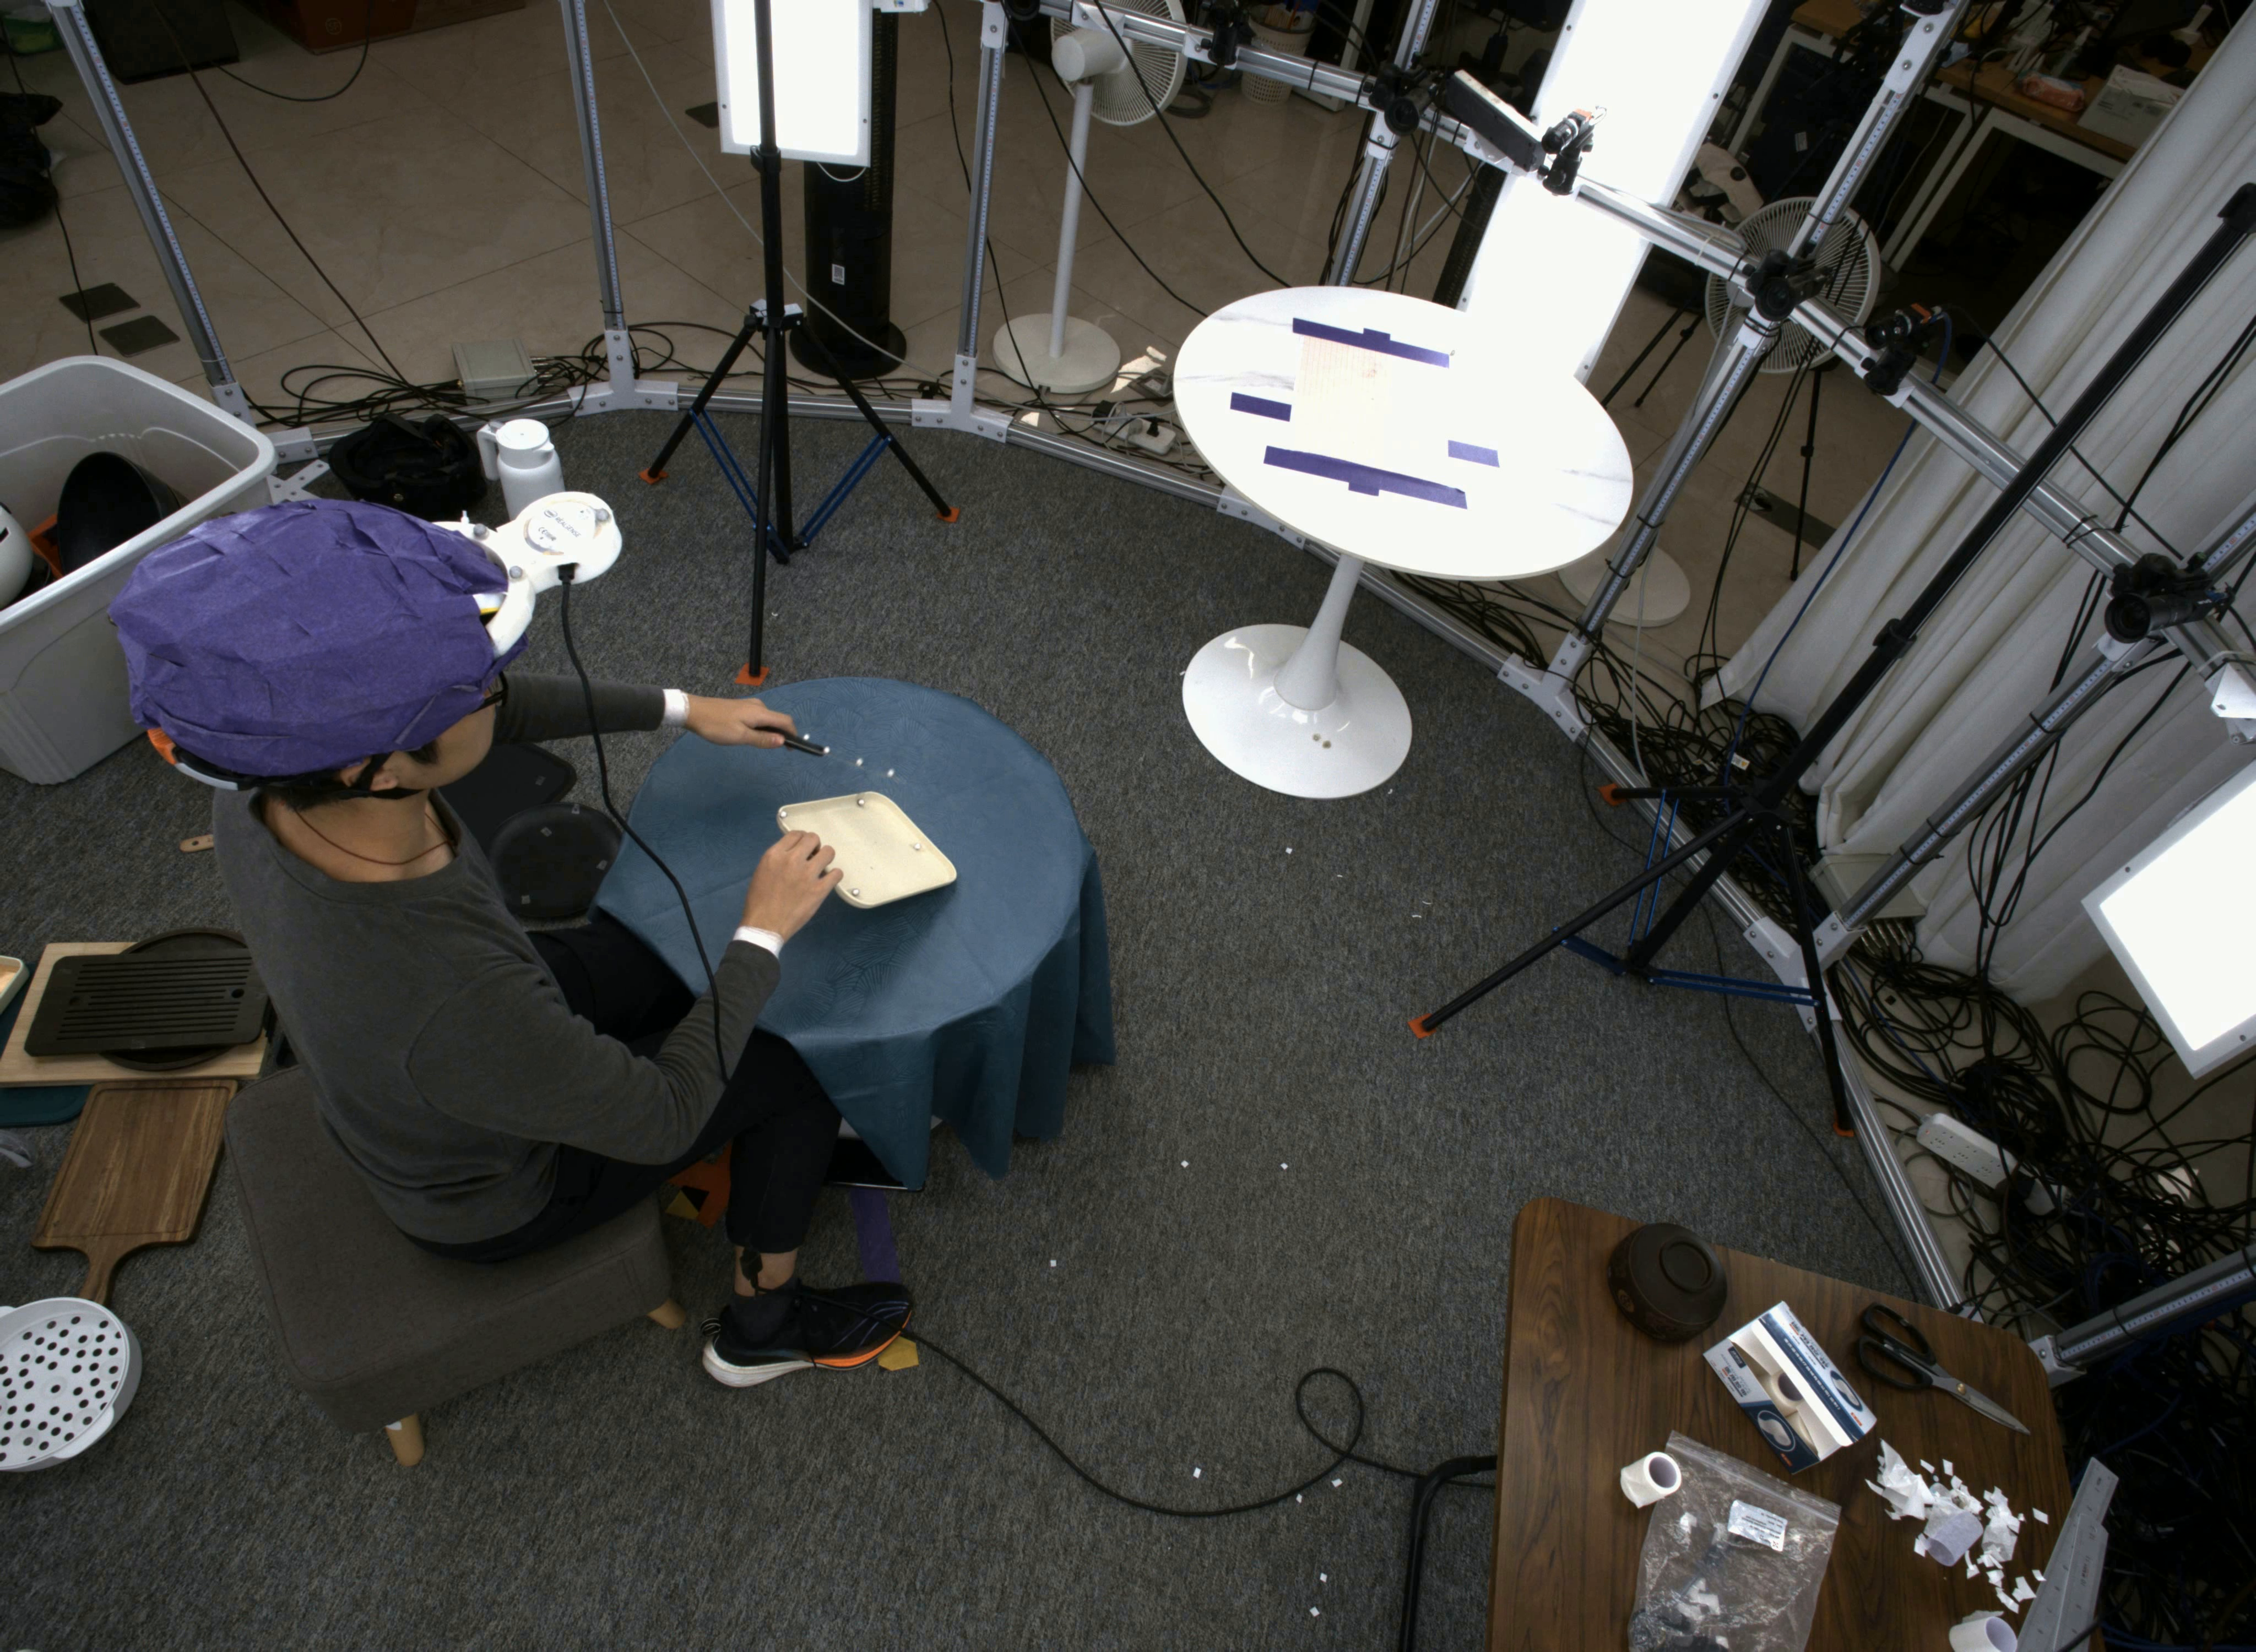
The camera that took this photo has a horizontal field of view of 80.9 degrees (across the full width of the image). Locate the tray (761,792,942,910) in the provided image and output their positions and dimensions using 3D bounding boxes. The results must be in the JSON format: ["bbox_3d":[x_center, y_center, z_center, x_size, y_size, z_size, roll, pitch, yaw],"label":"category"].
[{"bbox_3d":[-0.345,0.029,1.635,0.169,0.017,0.242,46,21,10],"label":"tray"}]

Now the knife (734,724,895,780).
[{"bbox_3d":[-0.404,-0.093,1.651,0.233,0.016,0.024,17,8,11],"label":"knife"}]
